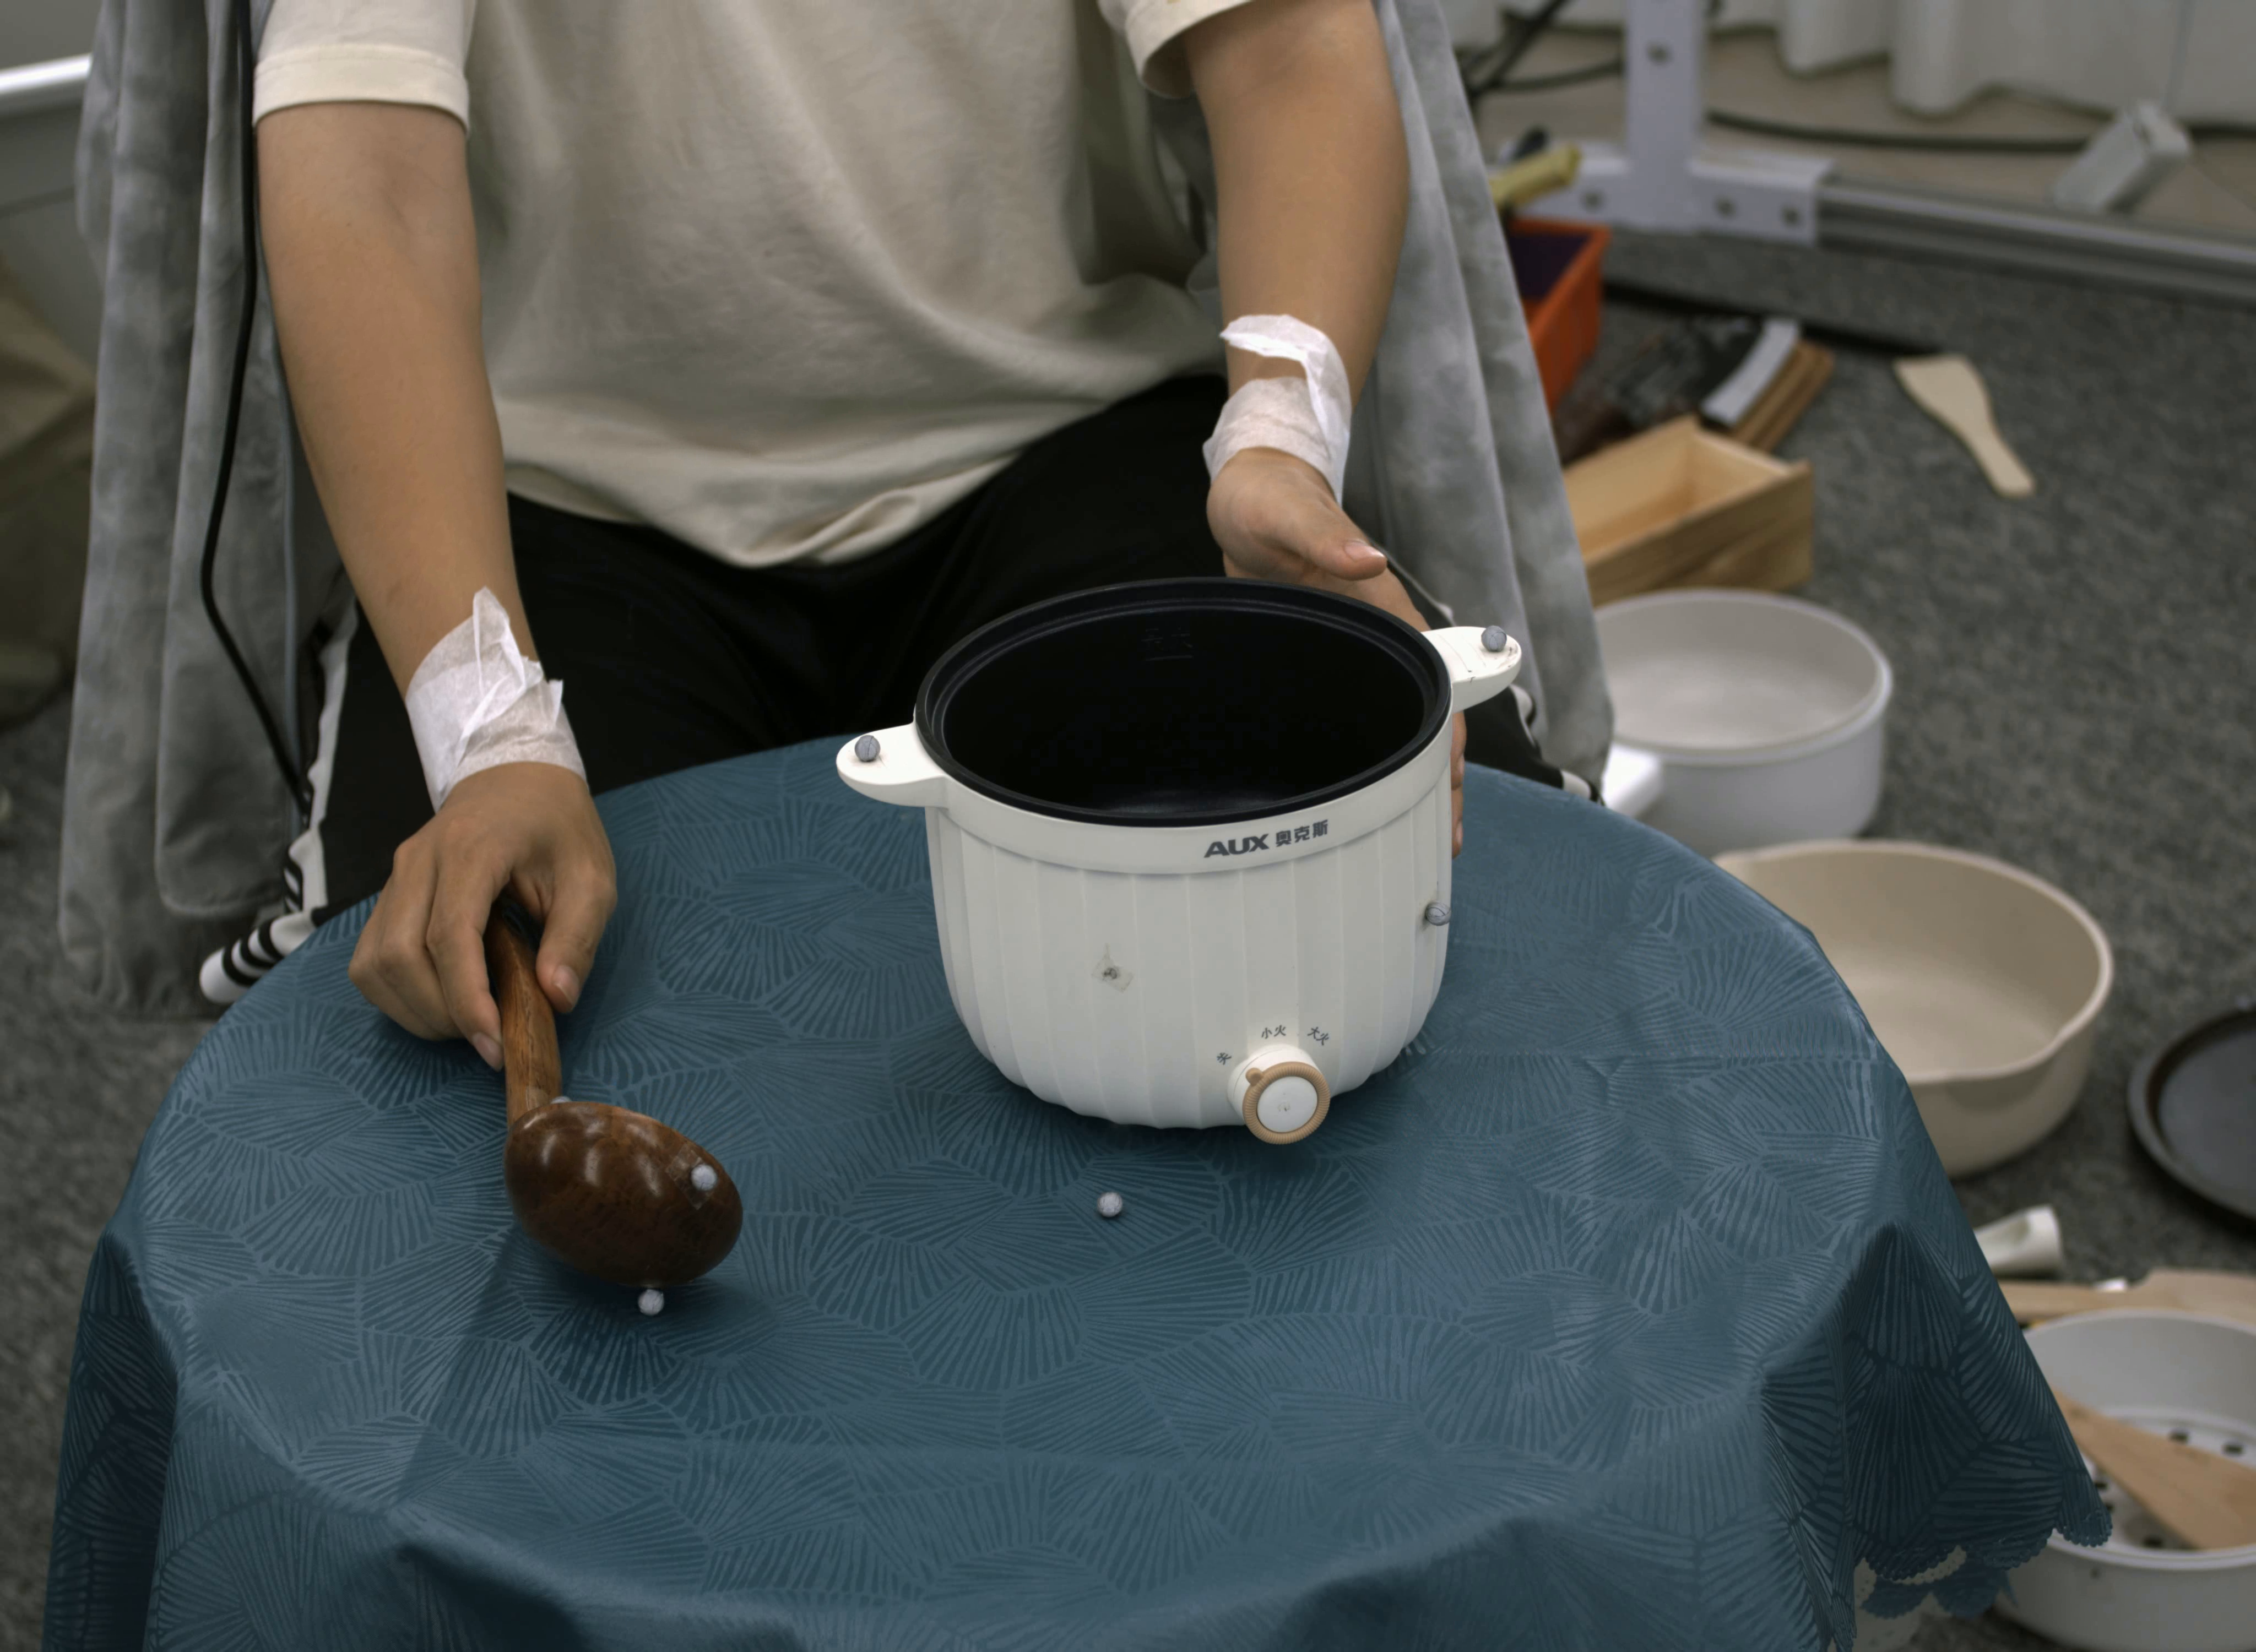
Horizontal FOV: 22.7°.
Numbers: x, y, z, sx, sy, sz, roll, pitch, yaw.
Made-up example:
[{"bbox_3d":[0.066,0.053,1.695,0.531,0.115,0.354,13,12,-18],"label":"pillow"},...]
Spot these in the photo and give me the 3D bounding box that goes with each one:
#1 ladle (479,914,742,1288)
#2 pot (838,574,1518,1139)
[{"bbox_3d":[-0.182,0.074,1.893,0.076,0.081,0.277,-40,24,10],"label":"ladle"},{"bbox_3d":[0.025,0.015,1.914,0.240,0.141,0.192,-12,24,-14],"label":"pot"}]
